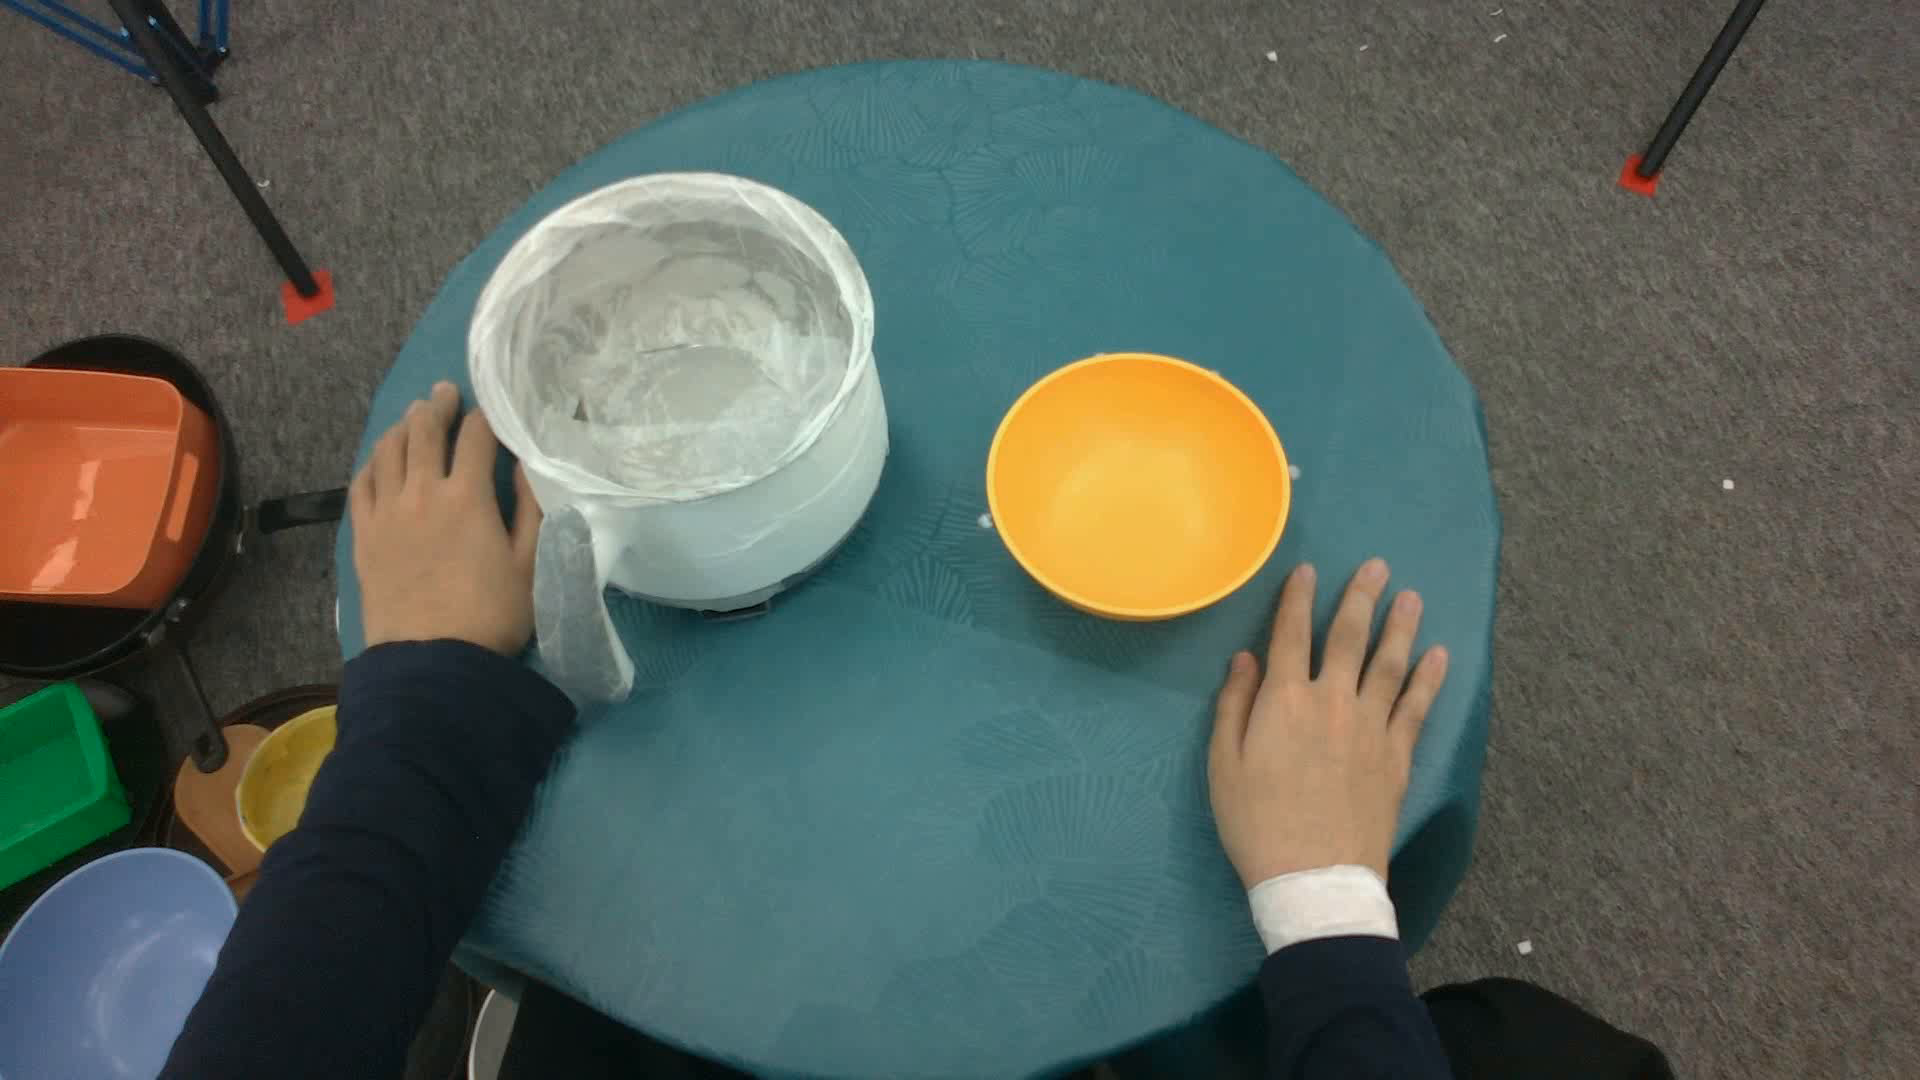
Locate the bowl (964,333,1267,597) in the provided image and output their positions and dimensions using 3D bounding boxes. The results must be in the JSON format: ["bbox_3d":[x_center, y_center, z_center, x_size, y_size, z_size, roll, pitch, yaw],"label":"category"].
[{"bbox_3d":[0.075,-0.028,0.683,0.145,0.060,0.146,0,63,0],"label":"bowl"}]

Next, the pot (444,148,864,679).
[{"bbox_3d":[-0.146,-0.054,0.652,0.178,0.136,0.234,15,64,10],"label":"pot"}]
